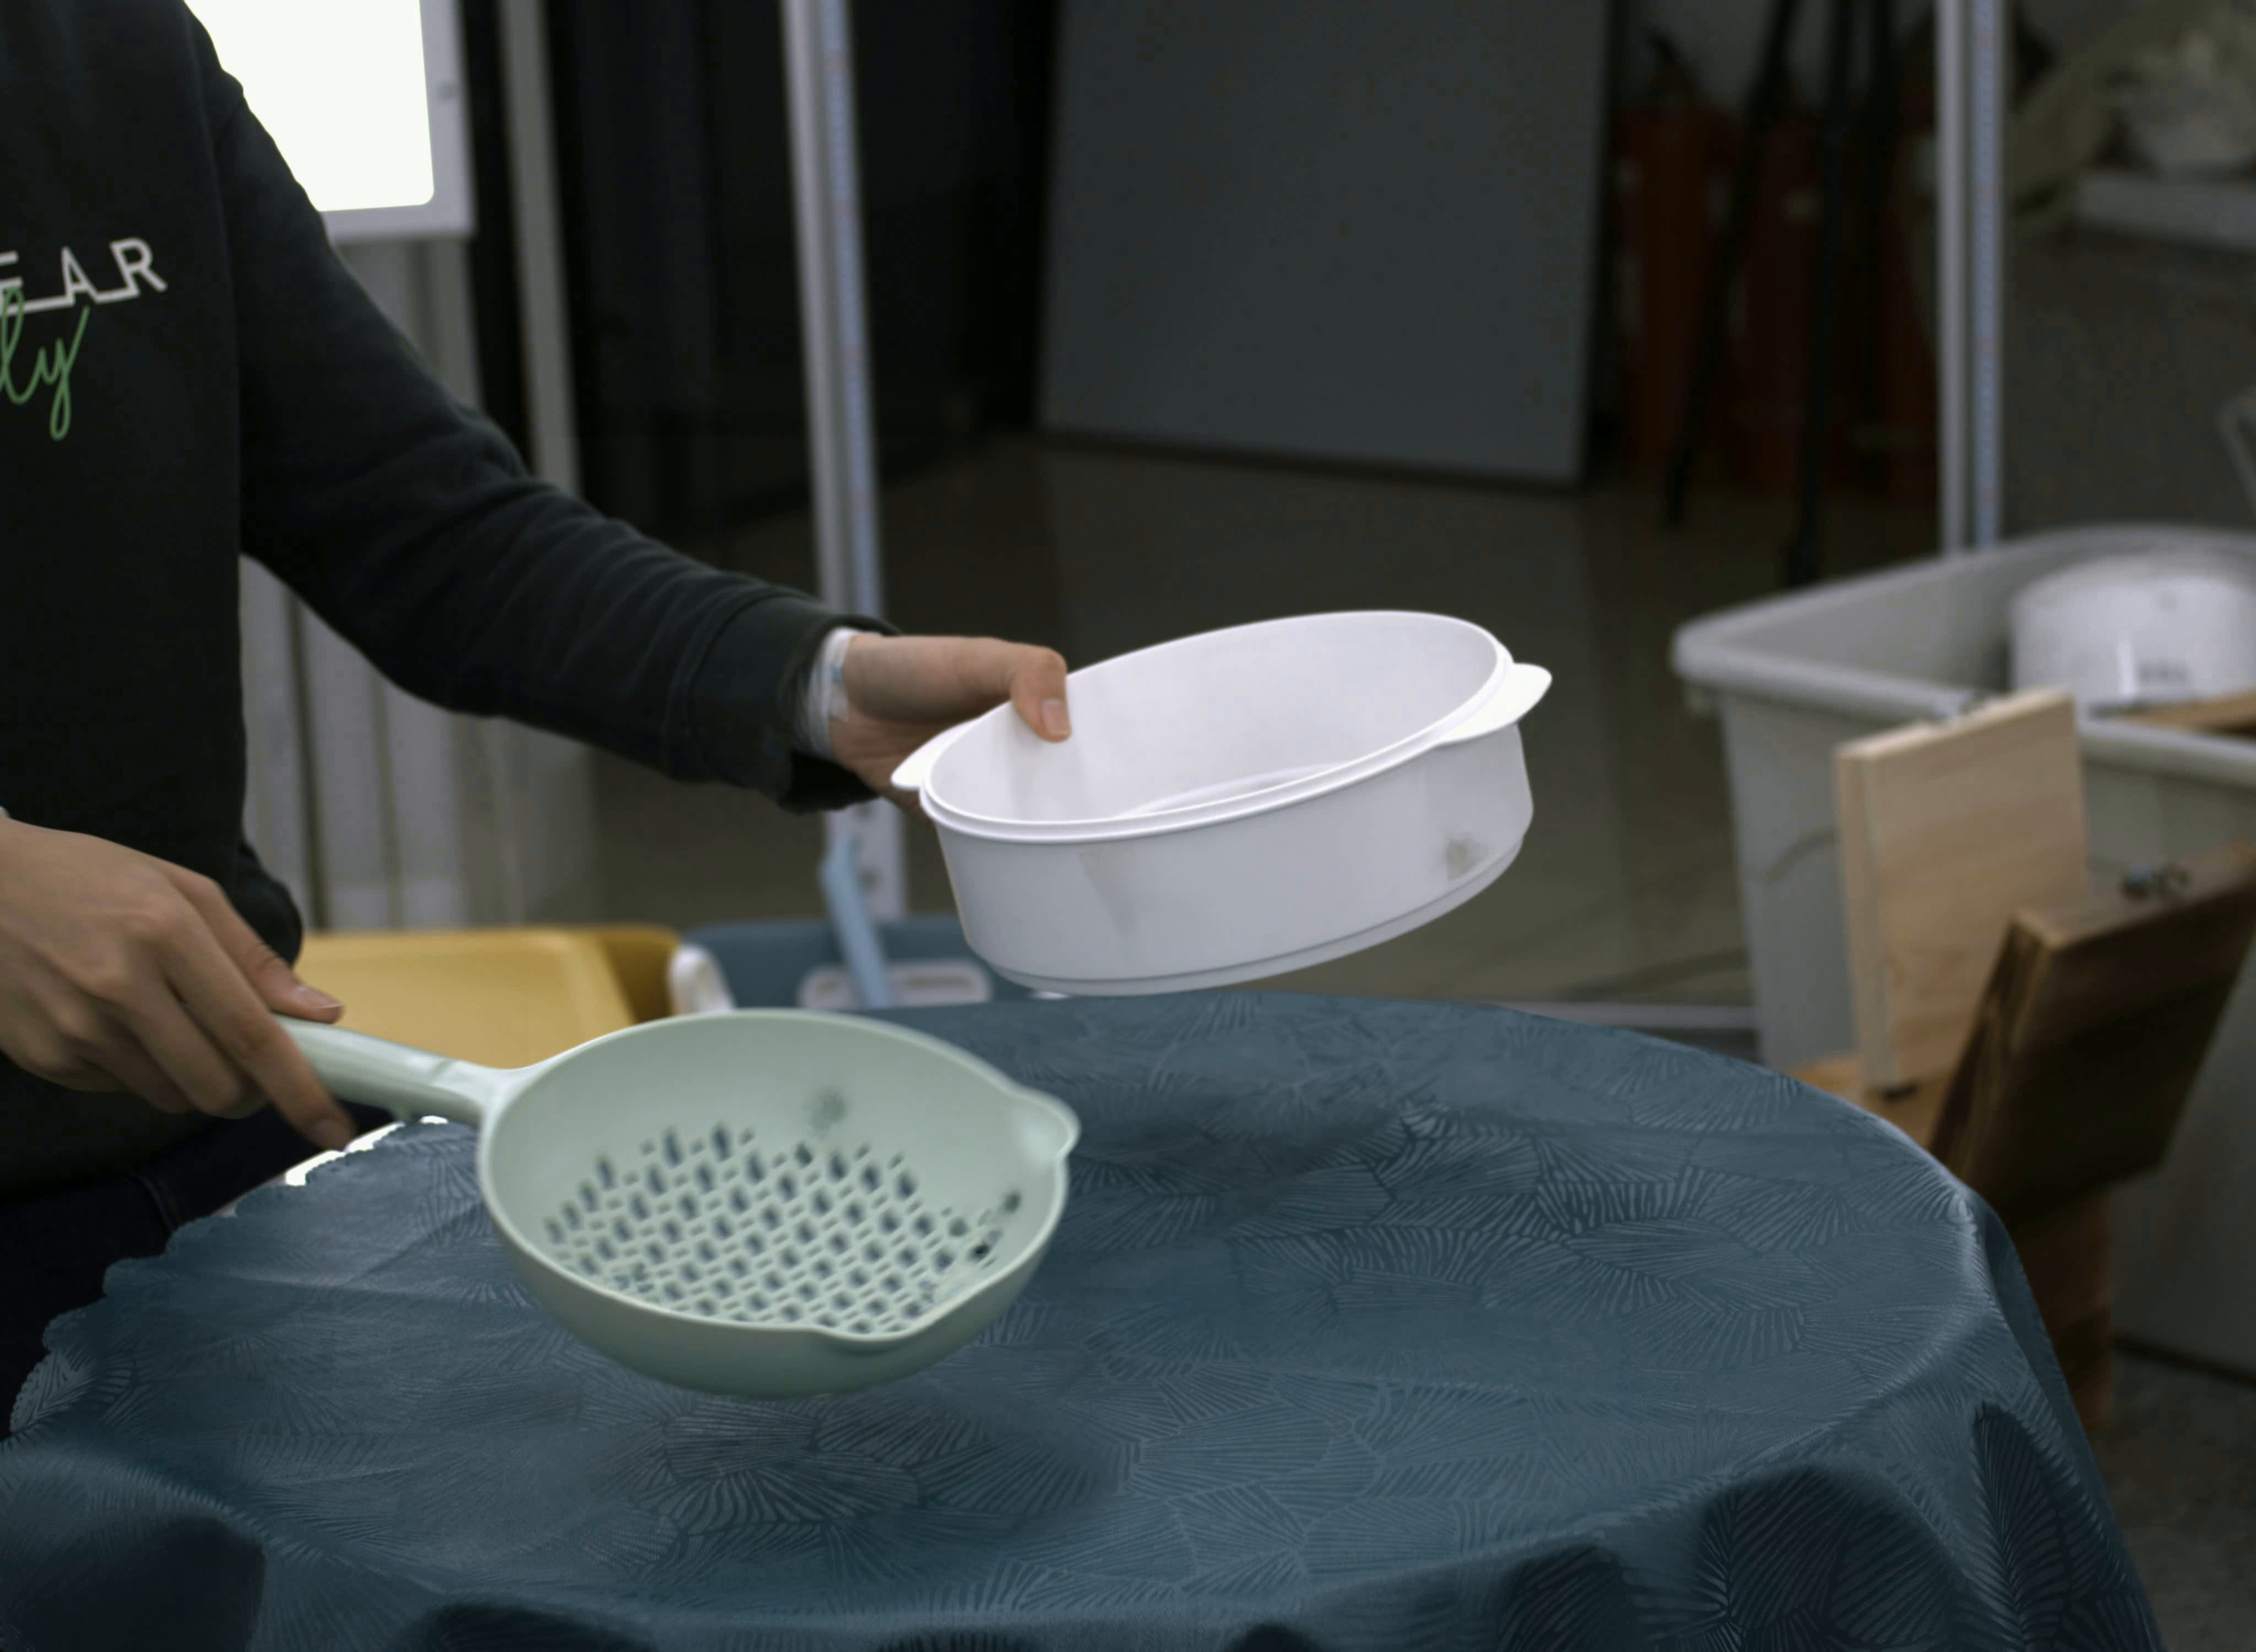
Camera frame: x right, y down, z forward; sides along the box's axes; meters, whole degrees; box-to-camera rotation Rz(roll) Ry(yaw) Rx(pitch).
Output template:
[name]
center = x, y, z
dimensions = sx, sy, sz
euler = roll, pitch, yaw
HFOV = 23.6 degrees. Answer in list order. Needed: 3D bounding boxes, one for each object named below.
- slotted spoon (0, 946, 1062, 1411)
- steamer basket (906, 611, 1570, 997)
[slotted spoon]
center = -0.195, 0.085, 1.586
dimensions = 0.358, 0.076, 0.167
euler = 22, 30, 16
[steamer basket]
center = 0.040, -0.007, 1.768
dimensions = 0.231, 0.070, 0.200
euler = -6, 18, 27
